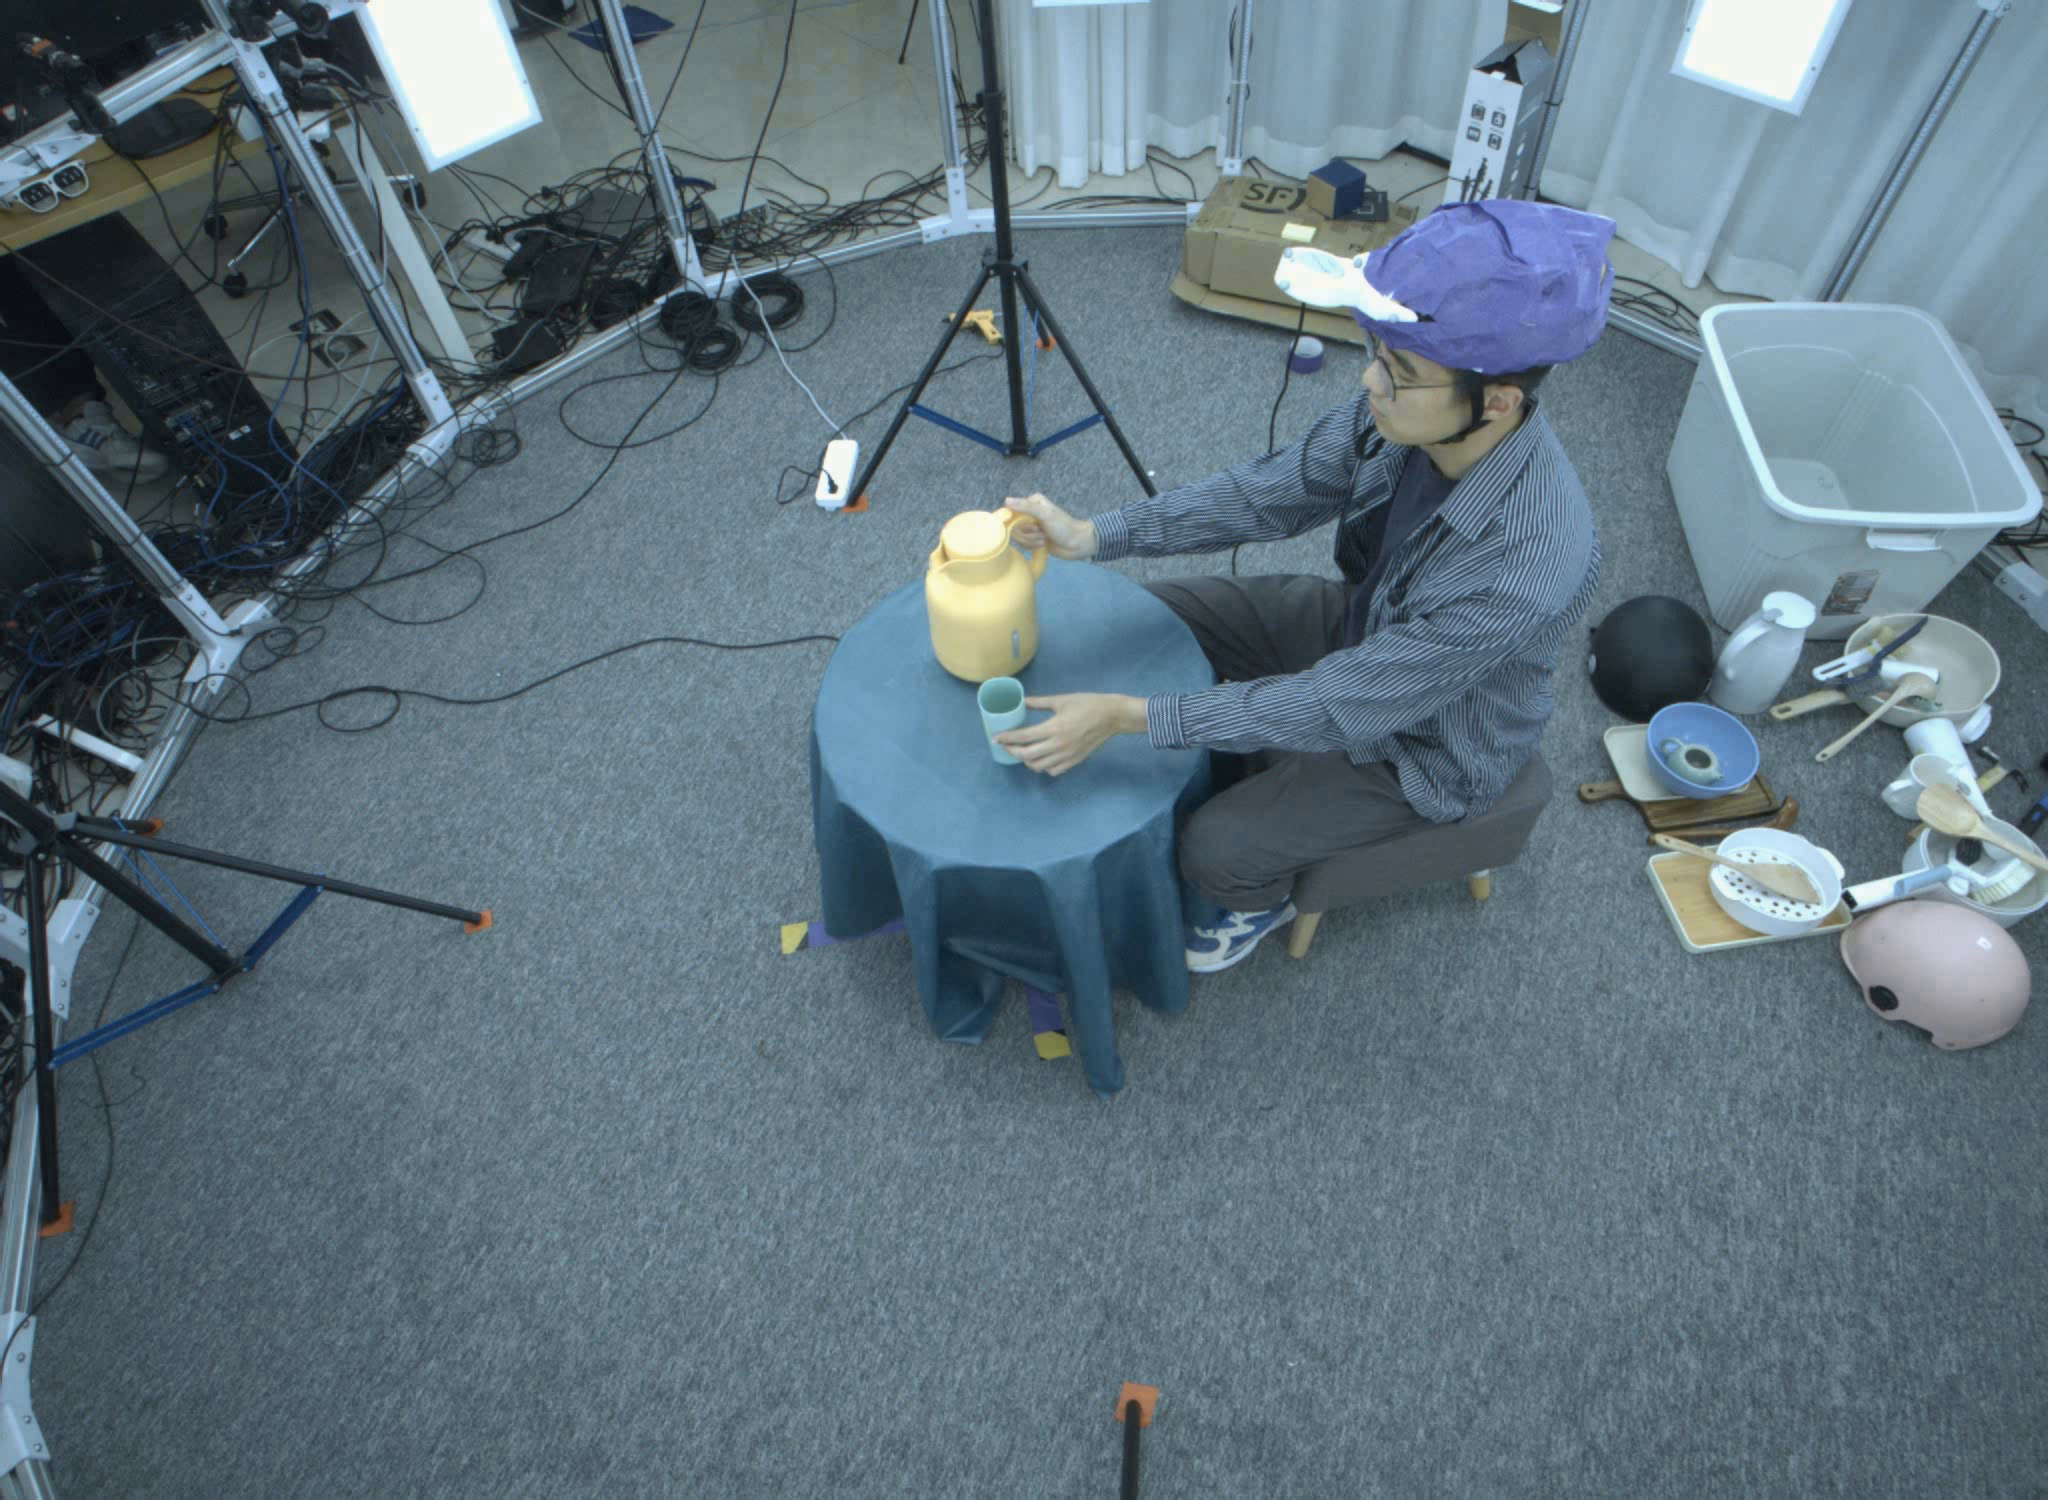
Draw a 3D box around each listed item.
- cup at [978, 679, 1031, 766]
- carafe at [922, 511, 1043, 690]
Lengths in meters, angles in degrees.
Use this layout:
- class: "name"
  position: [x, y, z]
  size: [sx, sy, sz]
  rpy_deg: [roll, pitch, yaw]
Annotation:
- class: "cup"
  position: [-0.025, -0.037, 1.740]
  size: [0.066, 0.134, 0.066]
  rpy_deg: [-2, 58, 5]
- class: "carafe"
  position: [-0.051, -0.228, 1.795]
  size: [0.204, 0.263, 0.160]
  rpy_deg: [-38, 62, -22]
